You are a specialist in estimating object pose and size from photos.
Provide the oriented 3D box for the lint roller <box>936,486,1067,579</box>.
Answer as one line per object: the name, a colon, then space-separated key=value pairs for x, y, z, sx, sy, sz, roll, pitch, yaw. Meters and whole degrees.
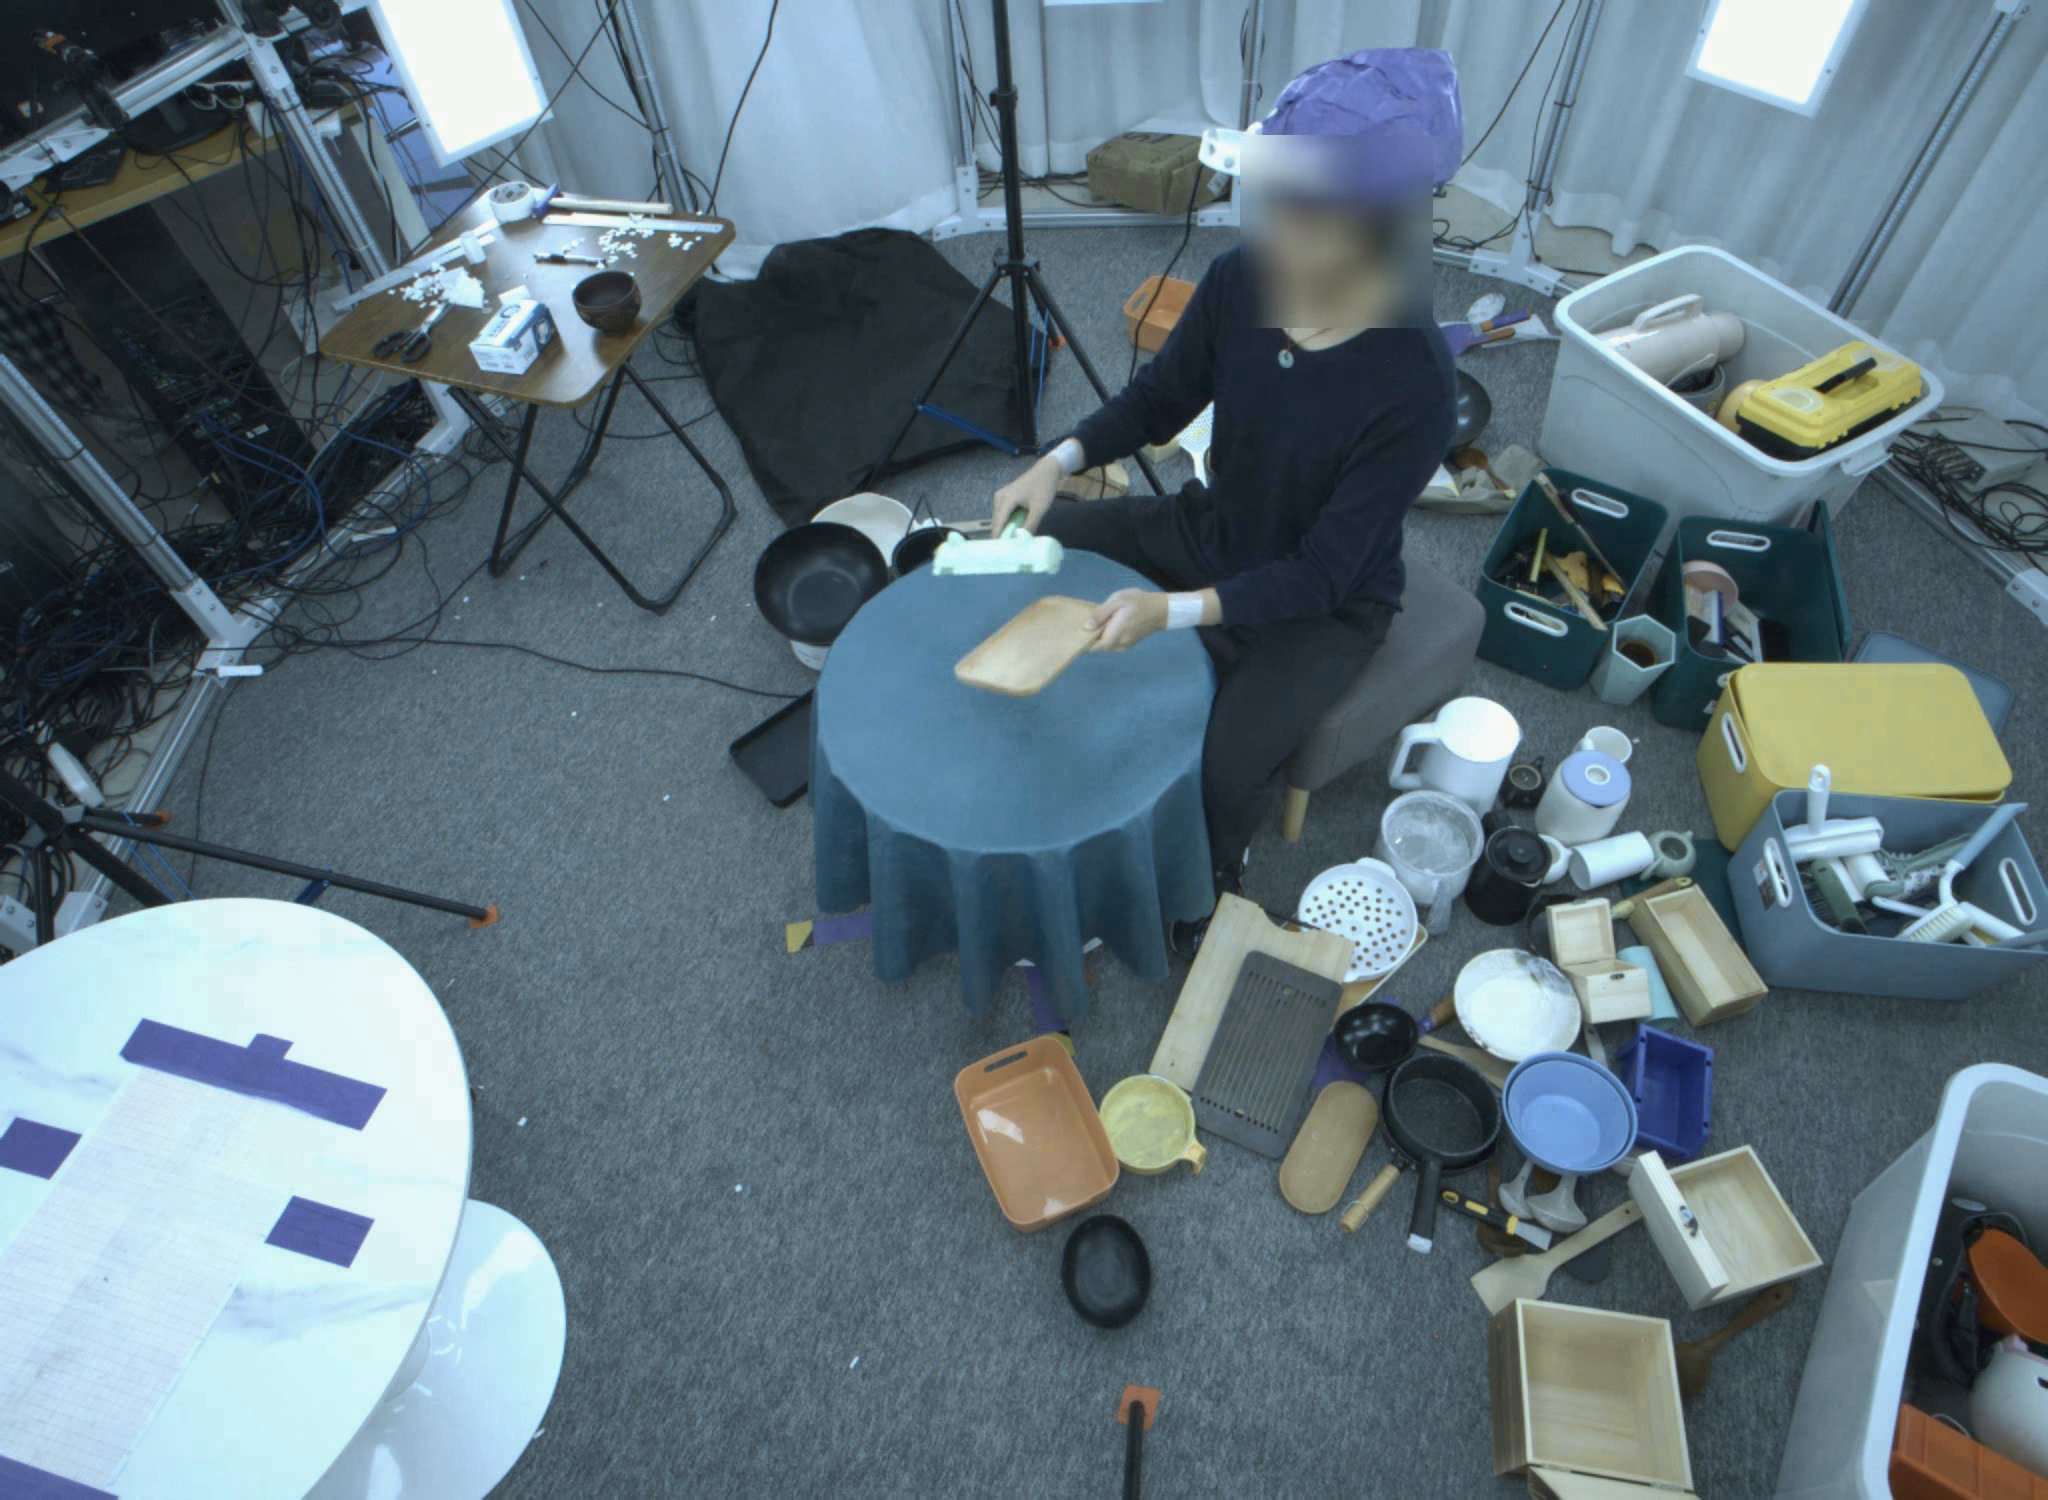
lint roller: x=-0.025 y=-0.331 z=1.787 sx=0.195 sy=0.084 sz=0.182 roll=2 pitch=63 yaw=30

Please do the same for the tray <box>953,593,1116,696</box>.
tray: x=0.016 y=-0.143 z=1.632 sx=0.128 sy=0.023 sz=0.253 roll=19 pitch=39 yaw=25
